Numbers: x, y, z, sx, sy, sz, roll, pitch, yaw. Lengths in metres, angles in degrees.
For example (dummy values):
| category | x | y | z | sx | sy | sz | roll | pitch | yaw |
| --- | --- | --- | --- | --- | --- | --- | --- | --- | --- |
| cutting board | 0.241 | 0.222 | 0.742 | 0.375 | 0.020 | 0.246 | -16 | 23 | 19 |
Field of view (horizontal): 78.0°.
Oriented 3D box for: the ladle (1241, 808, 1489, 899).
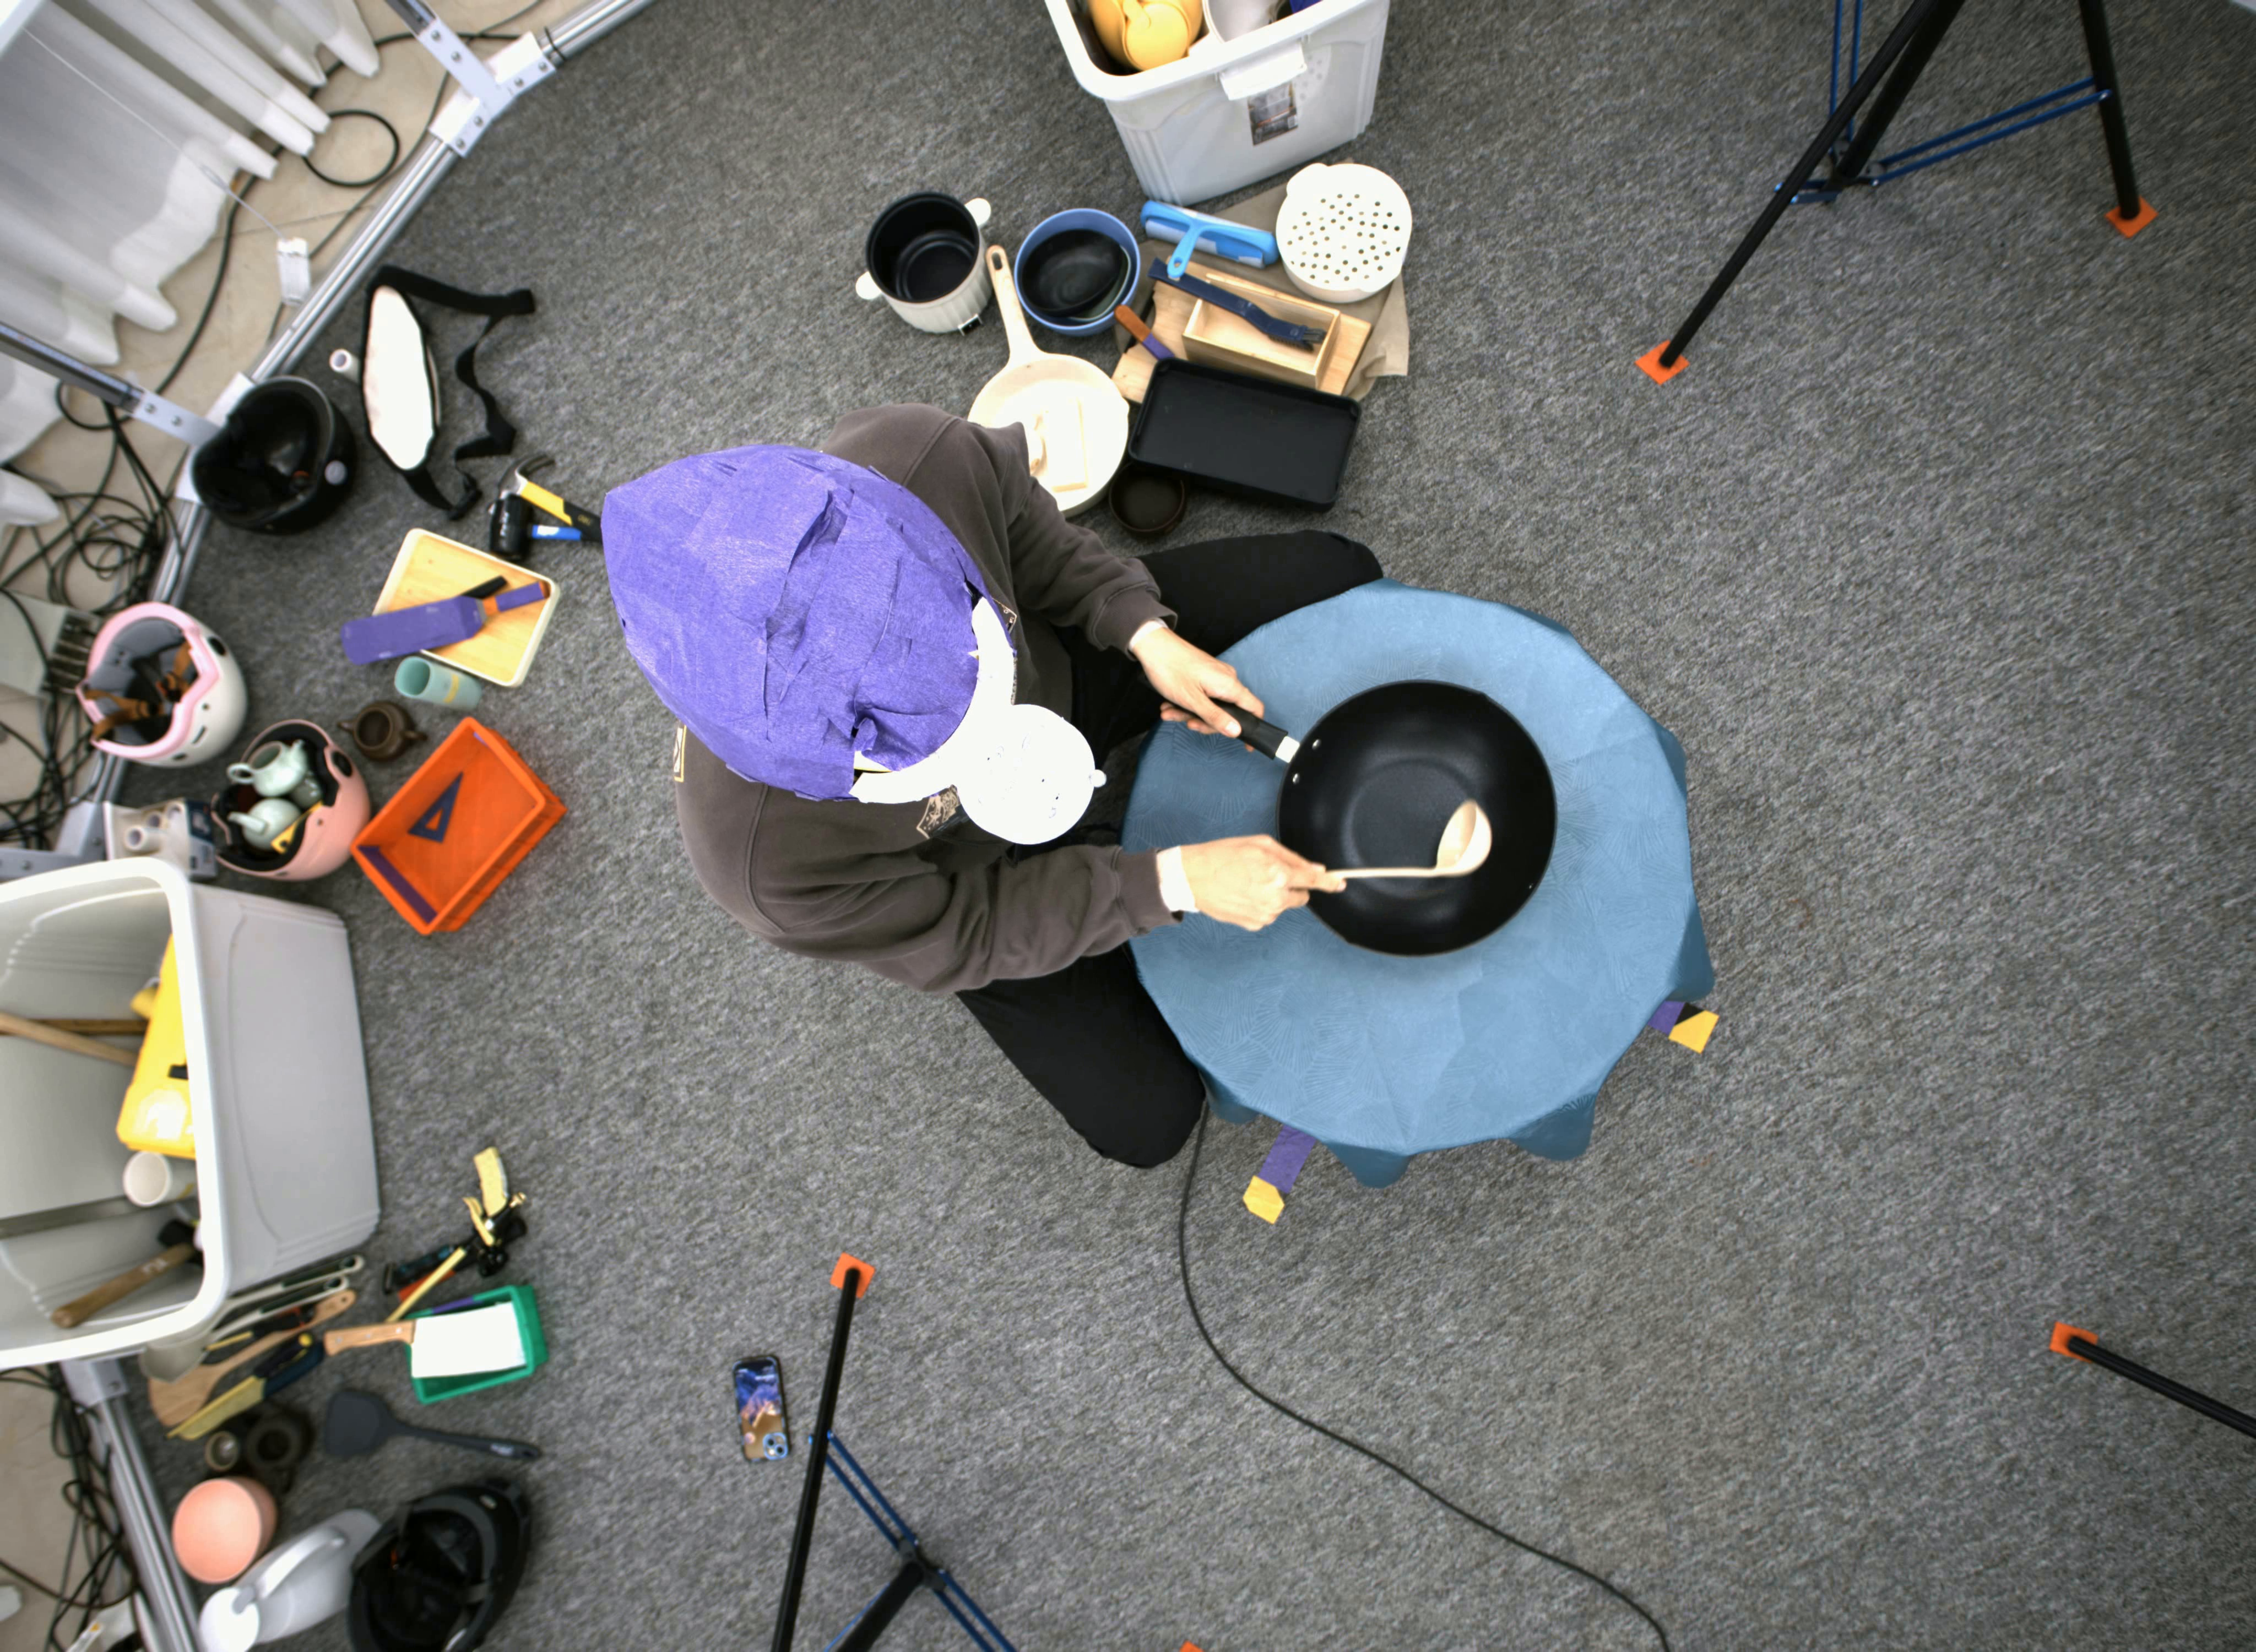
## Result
| category | x | y | z | sx | sy | sz | roll | pitch | yaw |
| --- | --- | --- | --- | --- | --- | --- | --- | --- | --- |
| ladle | 0.230 | 0.024 | 1.344 | 0.253 | 0.072 | 0.073 | -4 | 101 | -14 |

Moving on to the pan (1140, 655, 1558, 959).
| category | x | y | z | sx | sy | sz | roll | pitch | yaw |
| --- | --- | --- | --- | --- | --- | --- | --- | --- | --- |
| pan | 0.216 | -0.049 | 1.432 | 0.462 | 0.087 | 0.288 | 30 | 93 | 13 |
